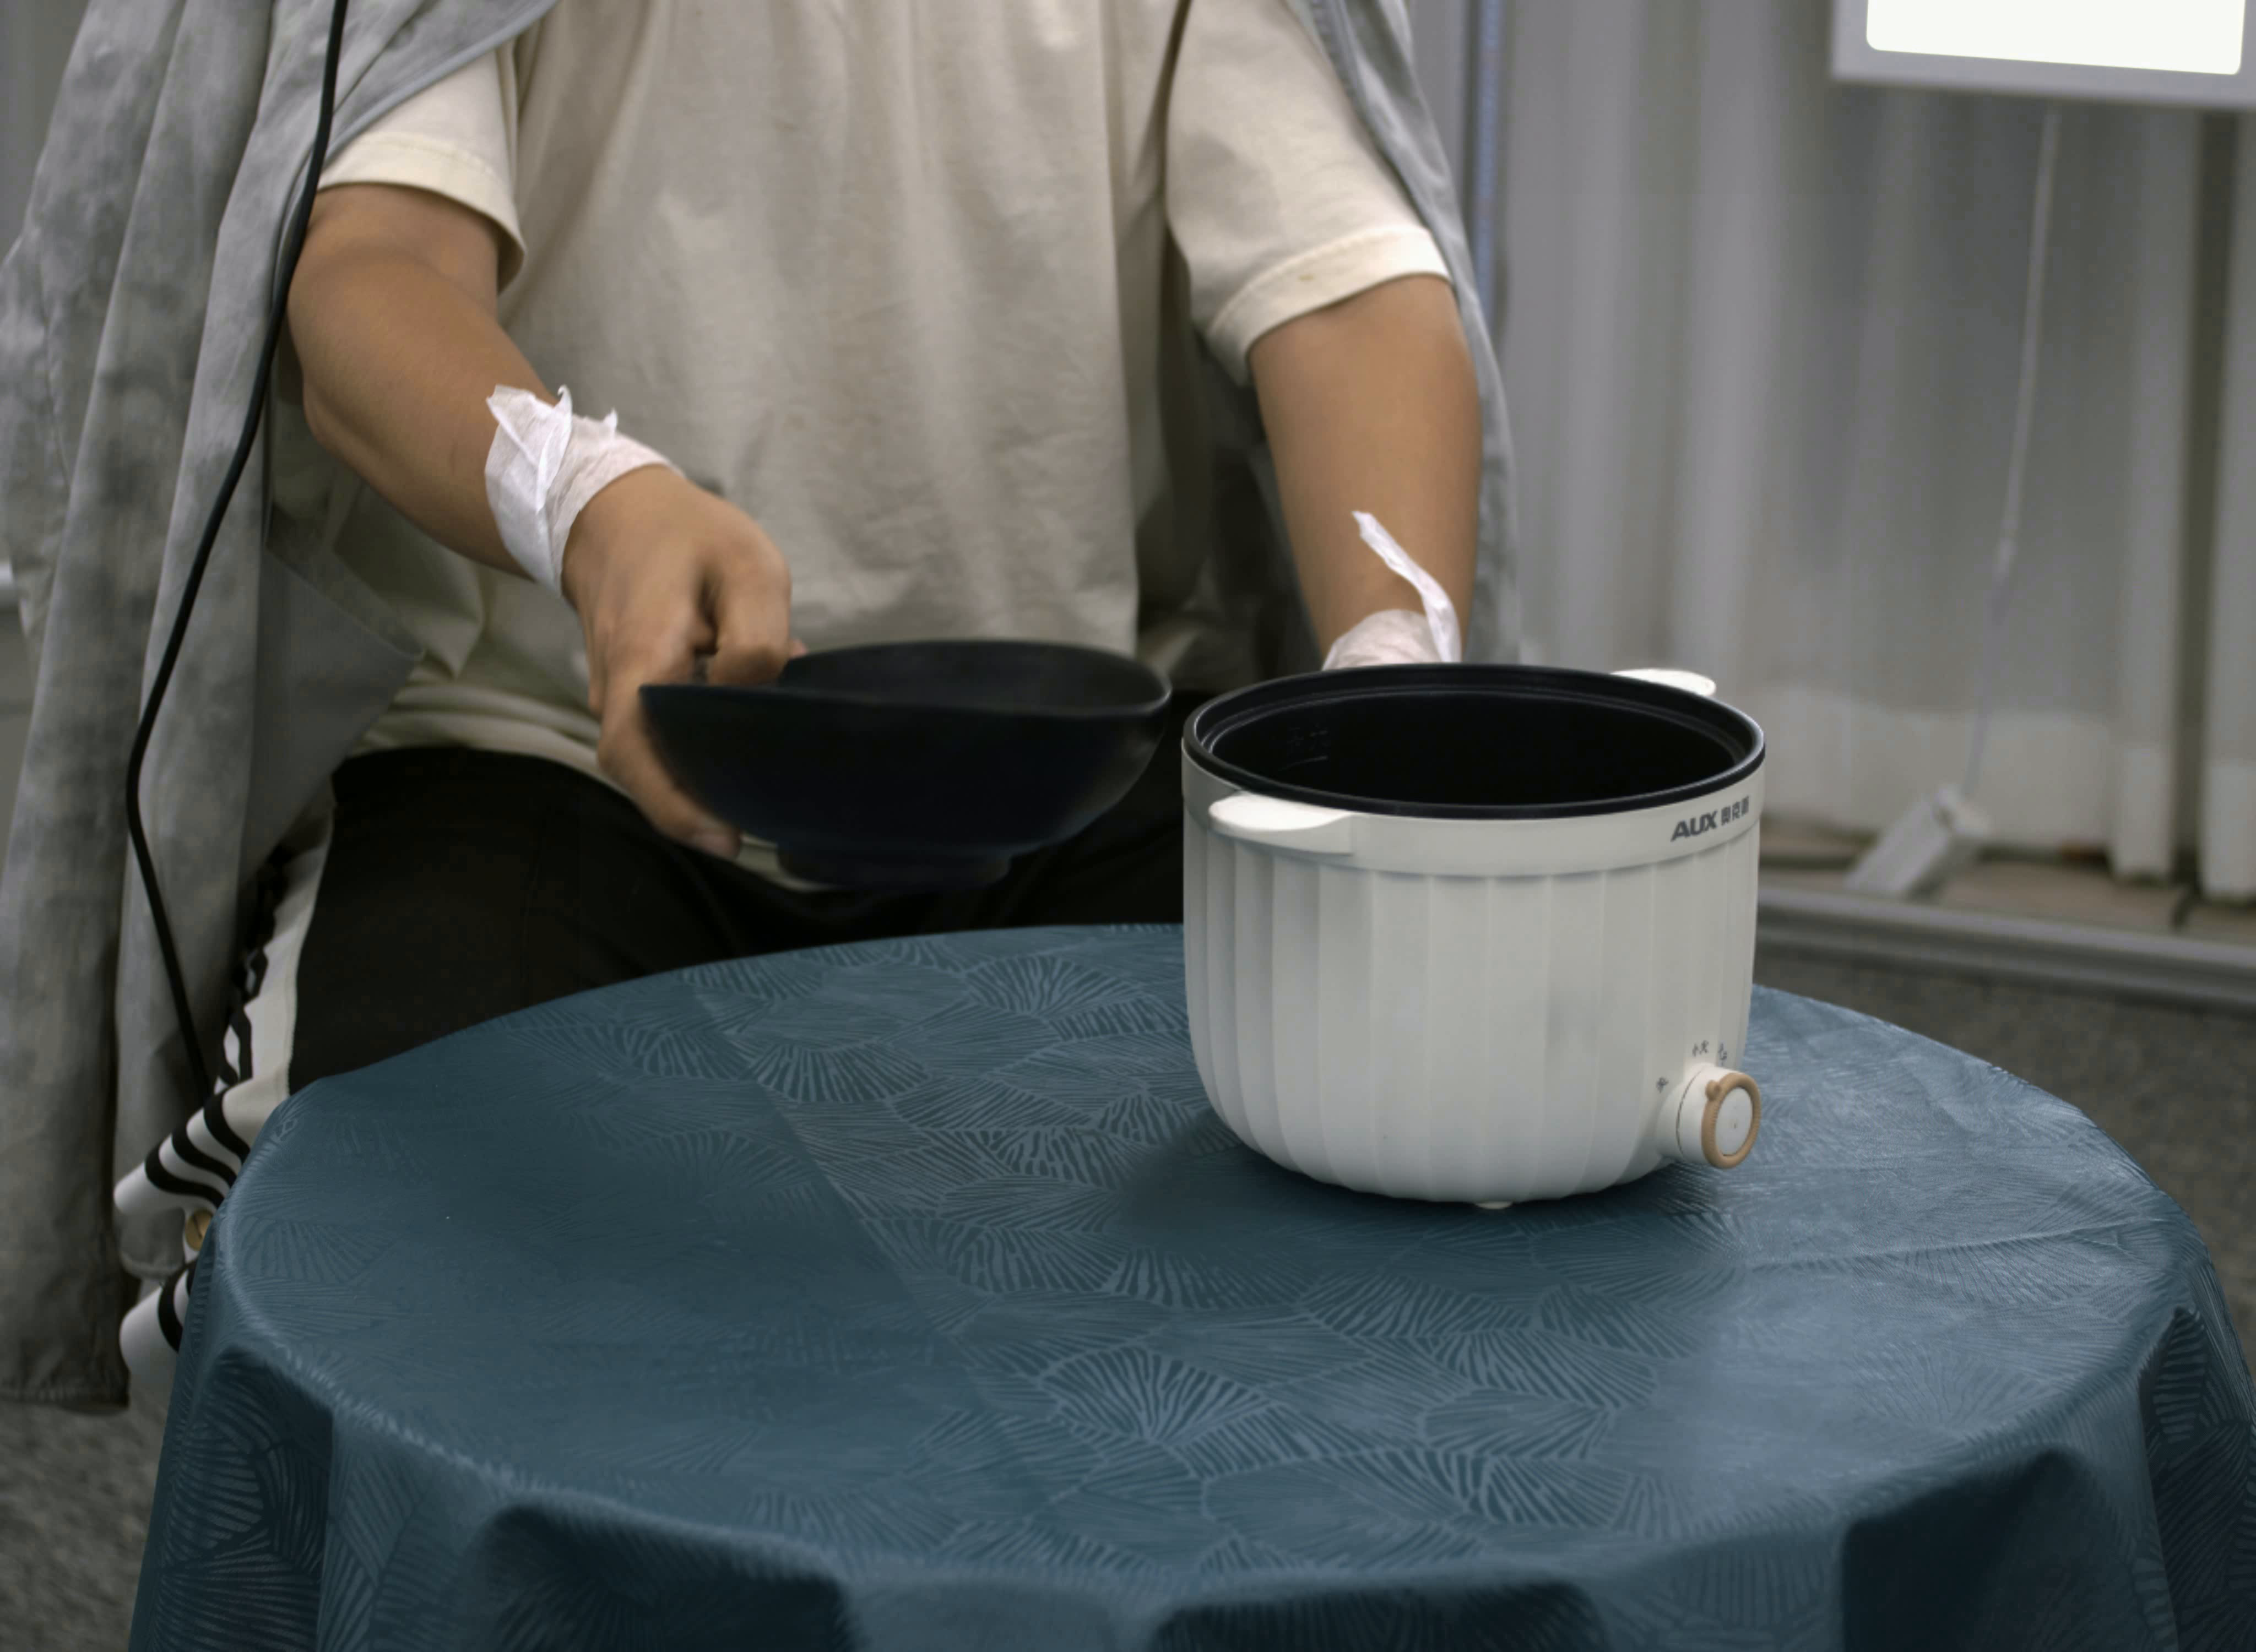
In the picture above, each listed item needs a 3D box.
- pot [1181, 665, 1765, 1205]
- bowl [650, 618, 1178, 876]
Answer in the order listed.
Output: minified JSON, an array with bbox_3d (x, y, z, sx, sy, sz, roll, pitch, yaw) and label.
[{"bbox_3d":[0.112,0.035,1.650,0.188,0.144,0.241,8,18,37],"label":"pot"},{"bbox_3d":[-0.065,-0.022,1.566,0.168,0.067,0.138,5,10,29],"label":"bowl"}]
